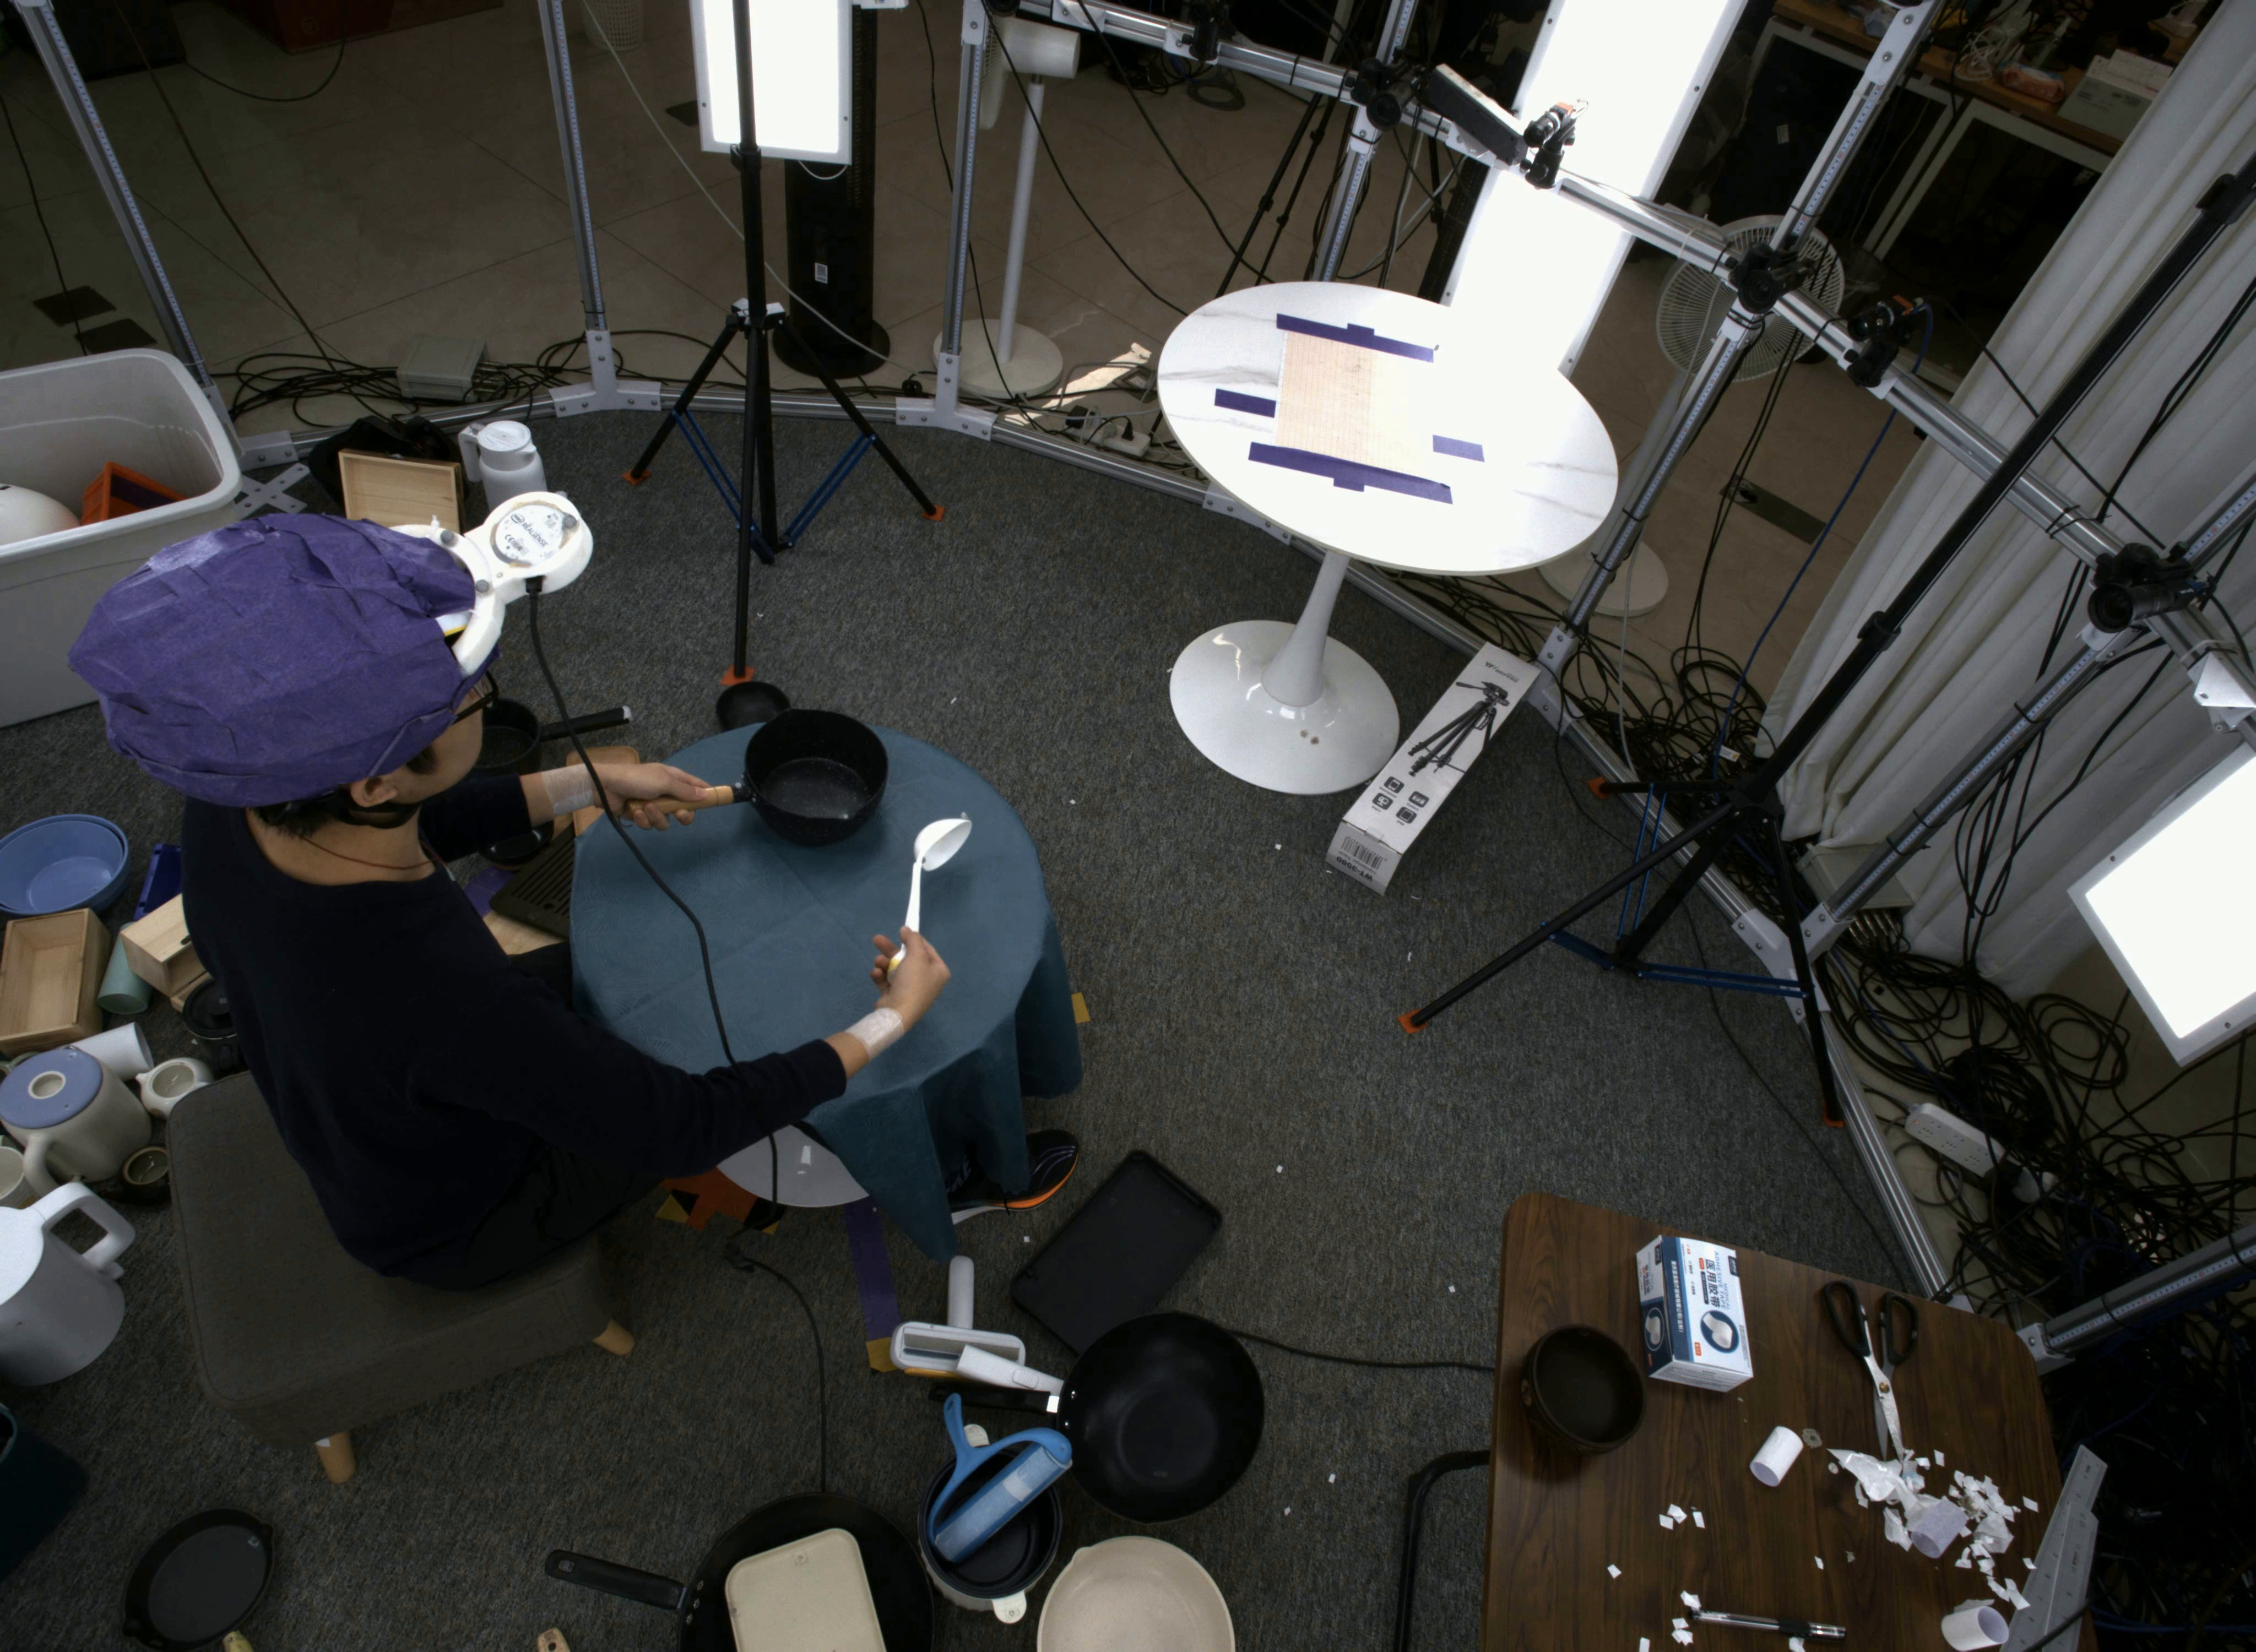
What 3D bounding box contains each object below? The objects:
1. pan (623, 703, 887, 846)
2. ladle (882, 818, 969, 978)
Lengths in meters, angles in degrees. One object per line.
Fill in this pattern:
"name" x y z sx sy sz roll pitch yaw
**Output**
"pan" -0.475 -0.043 1.655 0.345 0.110 0.203 -20 63 -31
"ladle" -0.246 0.084 1.583 0.071 0.090 0.286 28 30 -19
